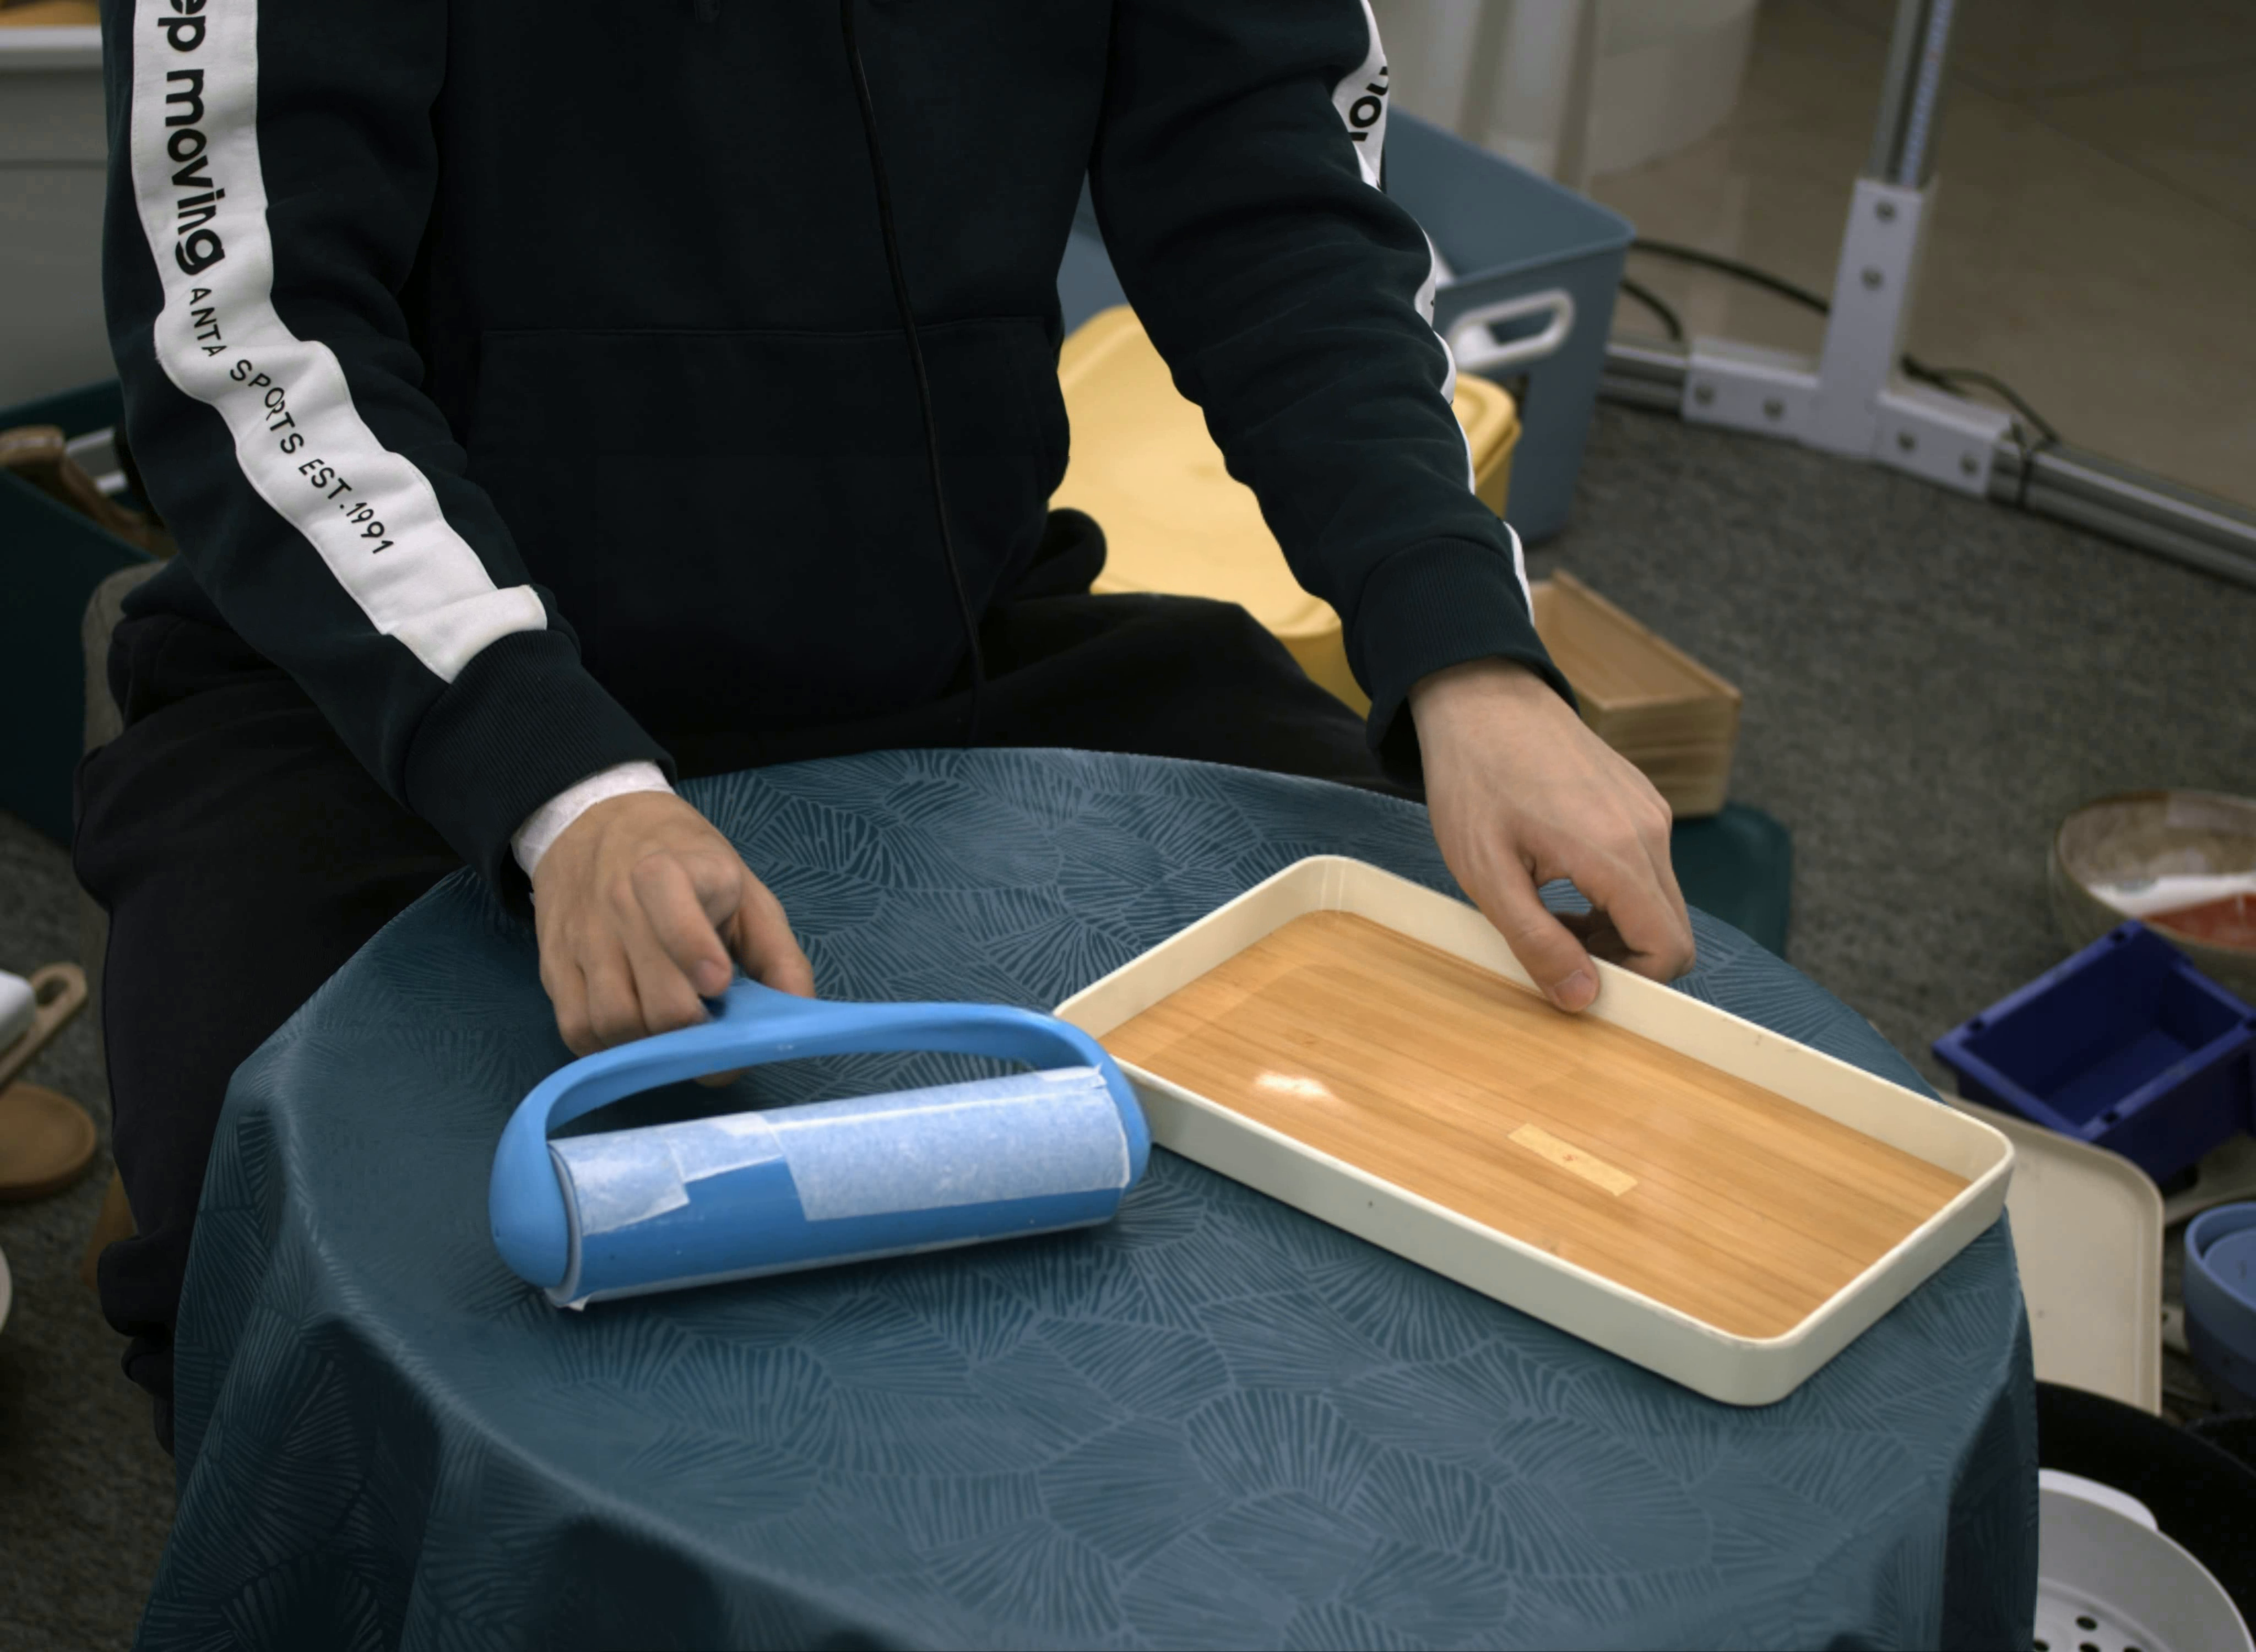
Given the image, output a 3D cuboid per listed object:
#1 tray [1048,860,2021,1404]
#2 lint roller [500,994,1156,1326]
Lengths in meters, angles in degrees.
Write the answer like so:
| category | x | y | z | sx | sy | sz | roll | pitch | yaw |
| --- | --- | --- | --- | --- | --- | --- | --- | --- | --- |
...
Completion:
| category | x | y | z | sx | sy | sz | roll | pitch | yaw |
| --- | --- | --- | --- | --- | --- | --- | --- | --- | --- |
| tray | 0.139 | 0.101 | 1.845 | 0.302 | 0.027 | 0.191 | 23 | 31 | 29 |
| lint roller | -0.123 | 0.091 | 1.774 | 0.227 | 0.067 | 0.182 | -11 | 32 | -27 |
